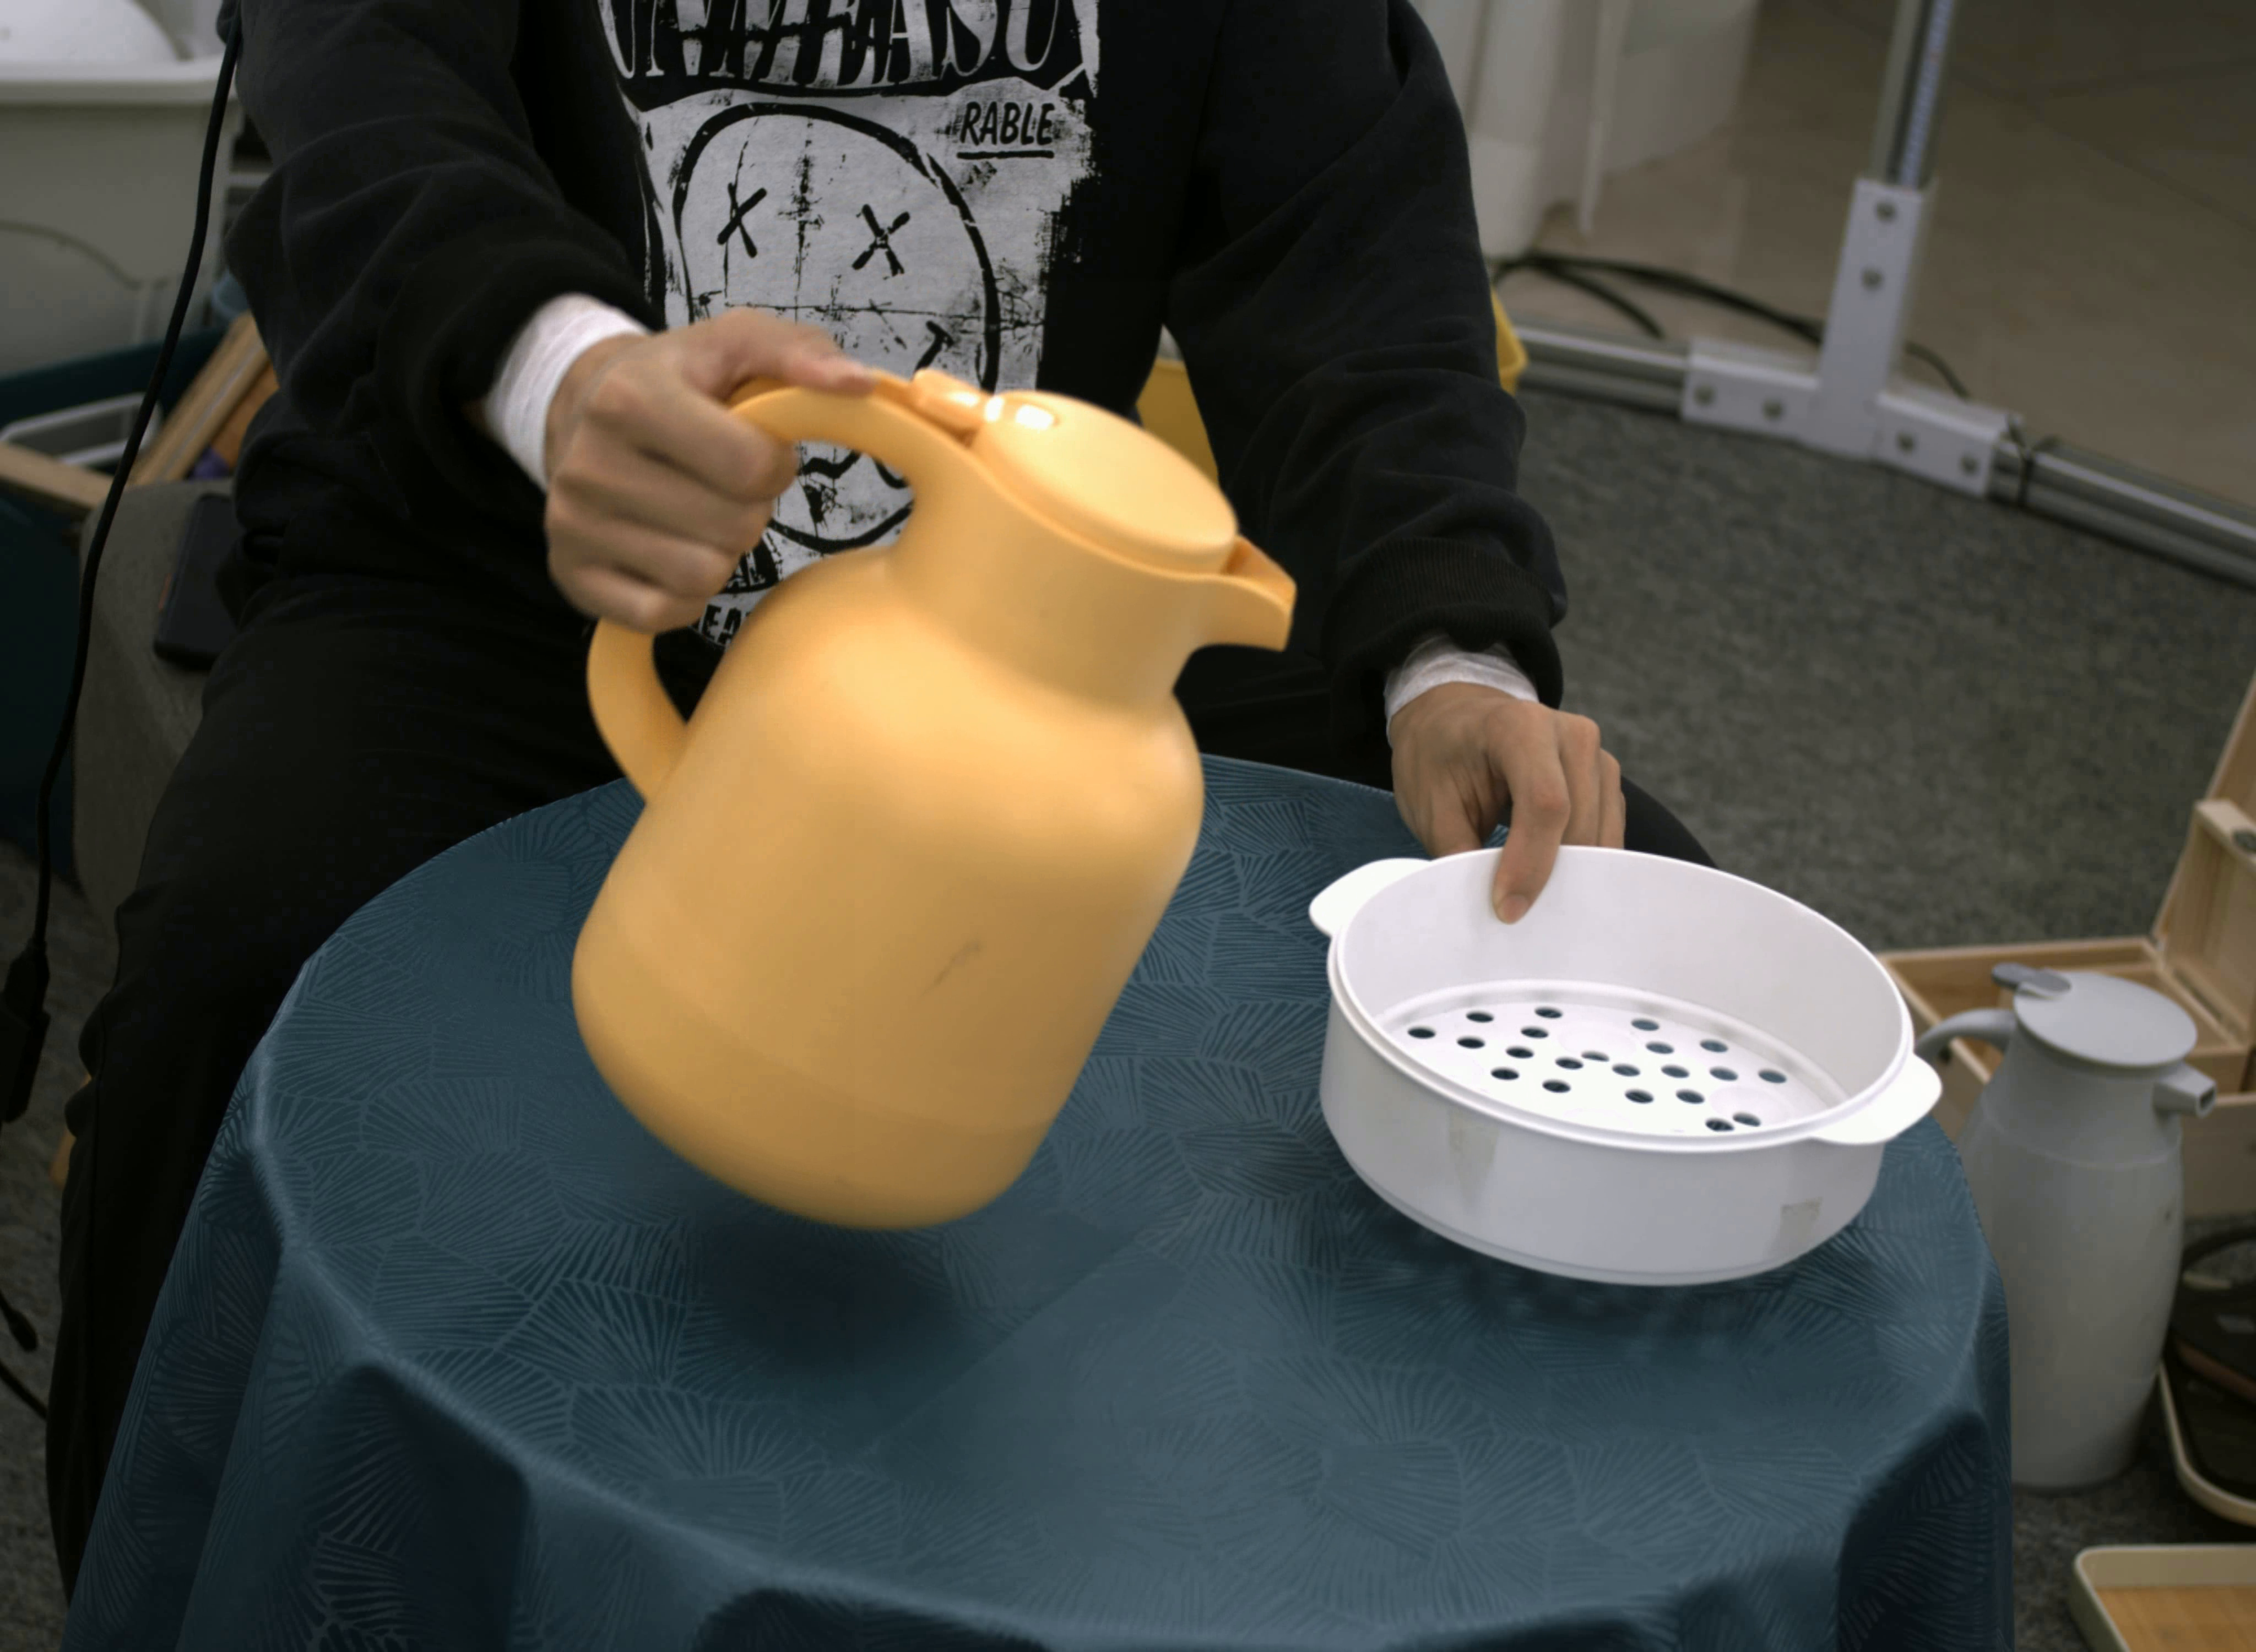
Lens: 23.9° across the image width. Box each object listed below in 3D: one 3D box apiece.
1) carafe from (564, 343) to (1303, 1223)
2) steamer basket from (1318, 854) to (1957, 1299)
[{"bbox_3d":[-0.077,-0.023,1.673,0.202,0.260,0.164,29,19,-4],"label":"carafe"},{"bbox_3d":[0.167,0.086,1.812,0.232,0.069,0.201,23,32,28],"label":"steamer basket"}]
